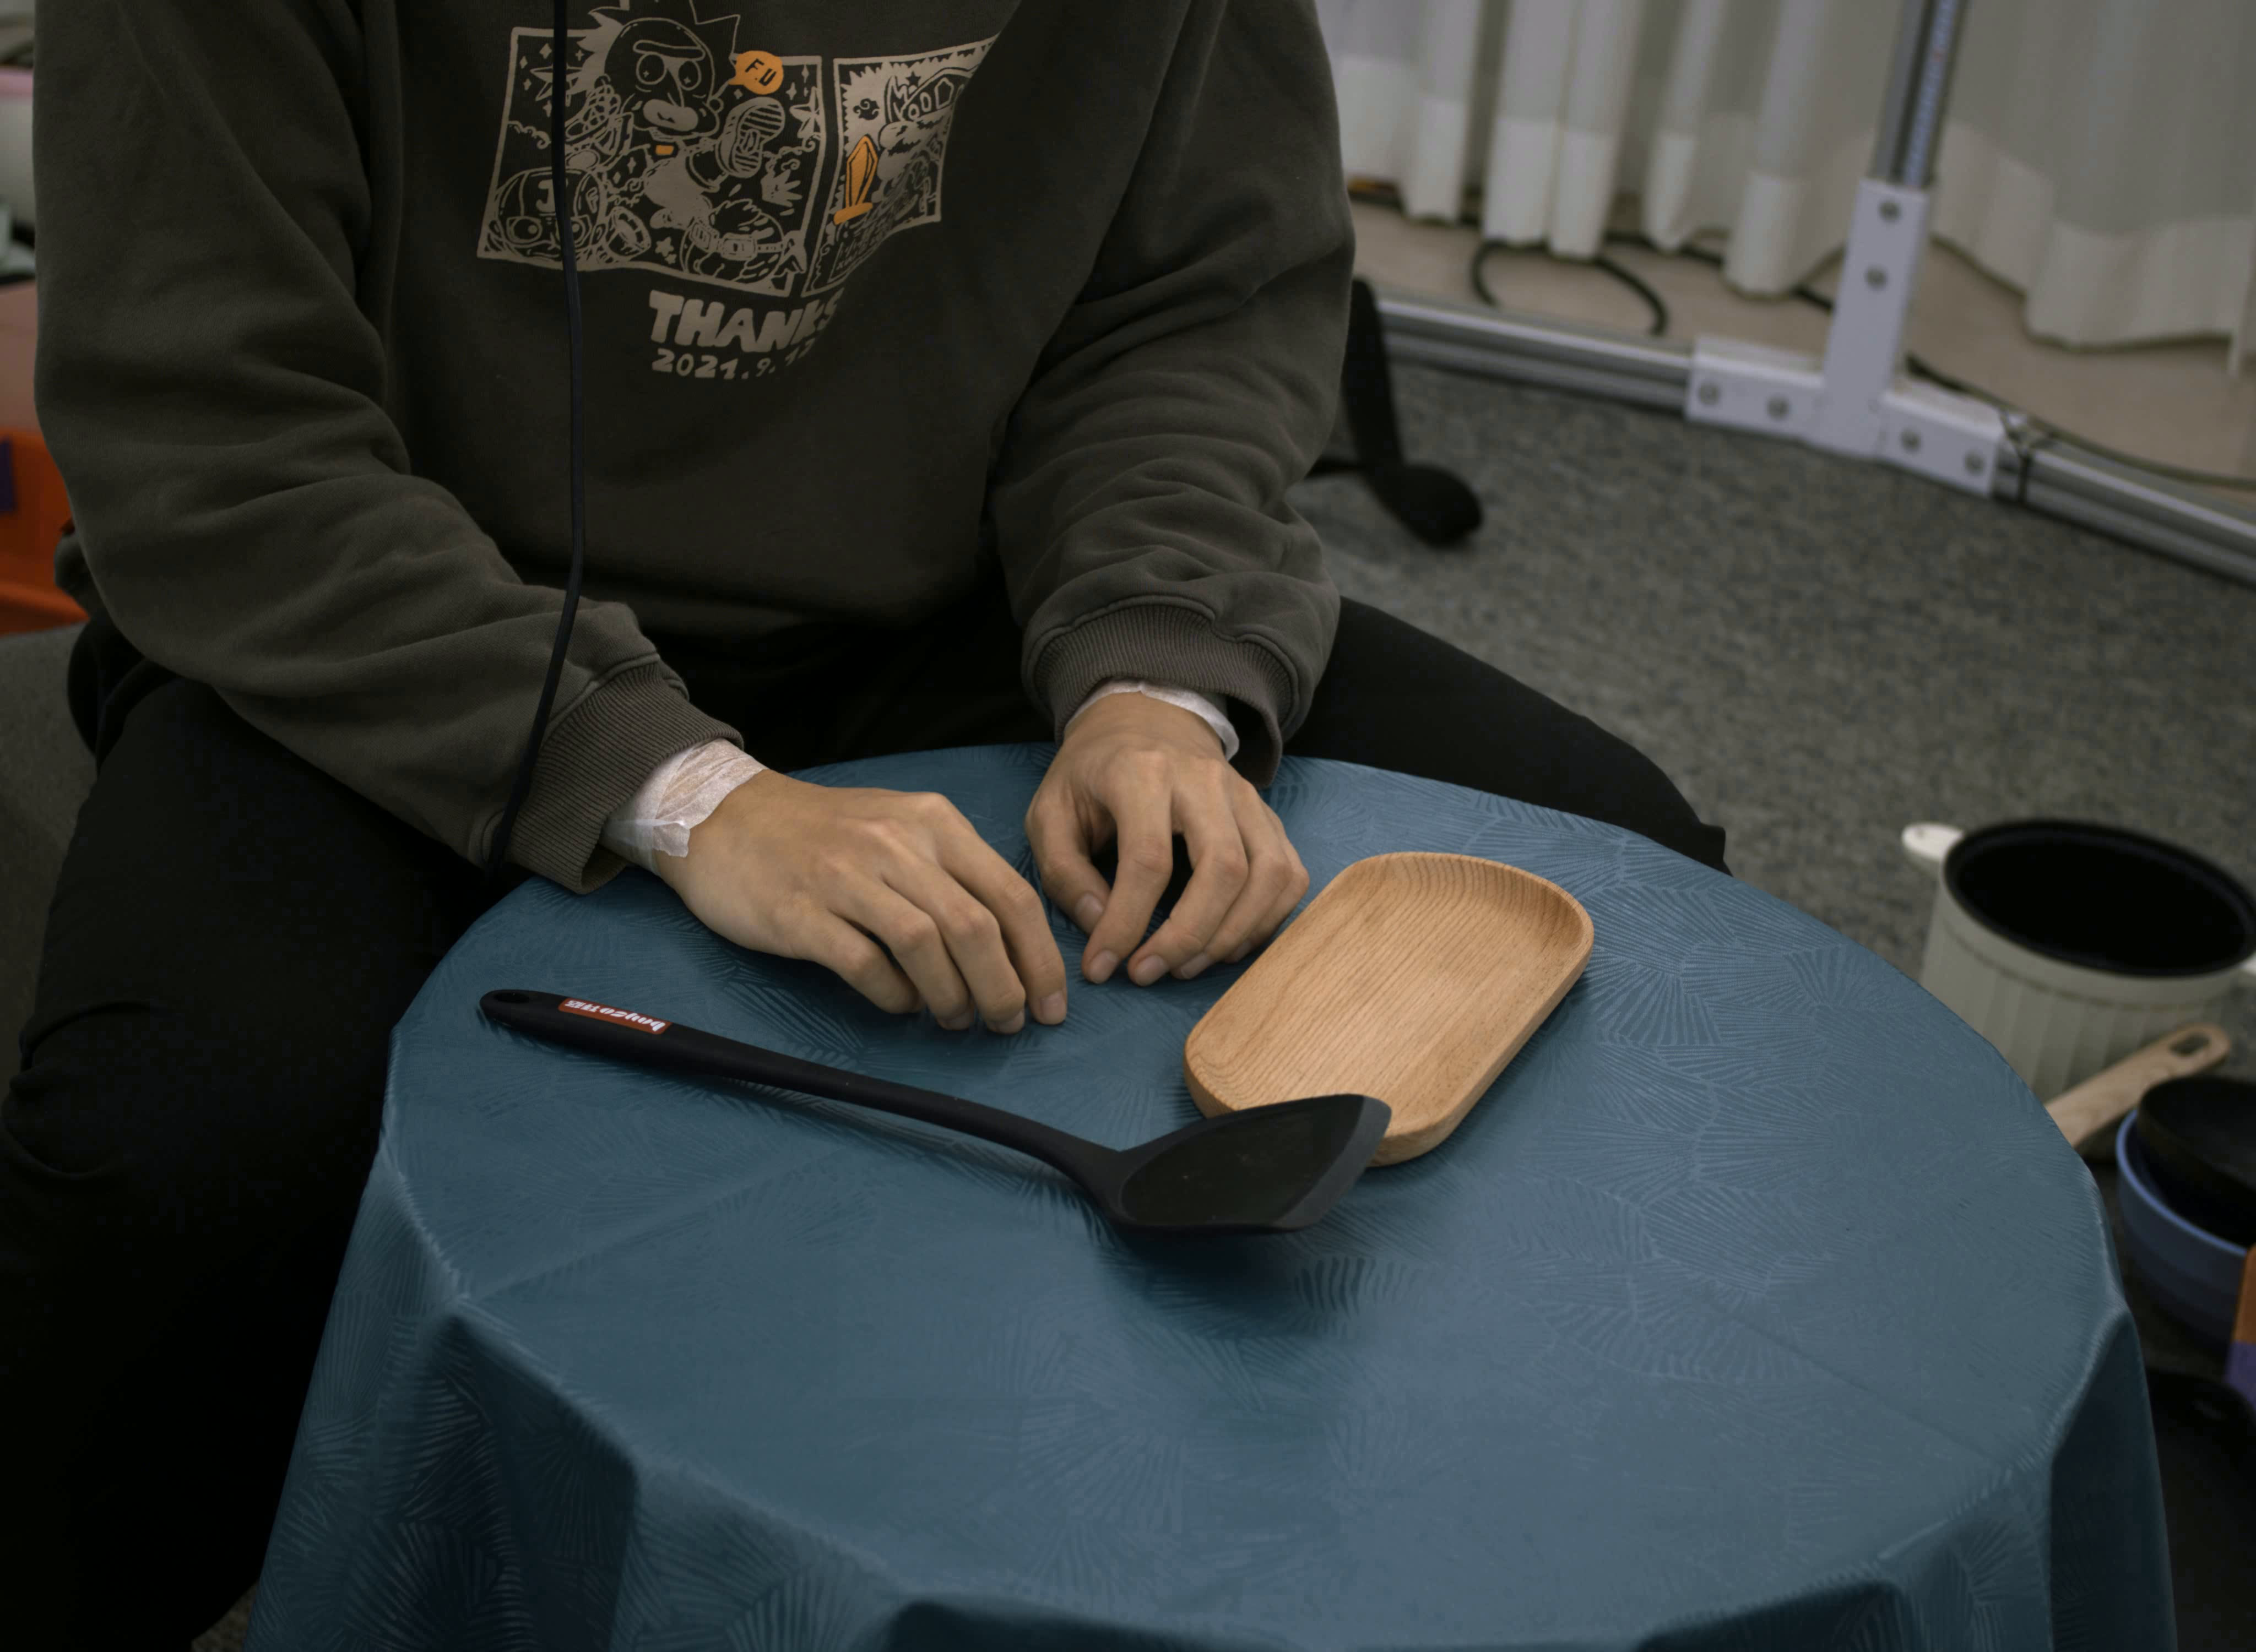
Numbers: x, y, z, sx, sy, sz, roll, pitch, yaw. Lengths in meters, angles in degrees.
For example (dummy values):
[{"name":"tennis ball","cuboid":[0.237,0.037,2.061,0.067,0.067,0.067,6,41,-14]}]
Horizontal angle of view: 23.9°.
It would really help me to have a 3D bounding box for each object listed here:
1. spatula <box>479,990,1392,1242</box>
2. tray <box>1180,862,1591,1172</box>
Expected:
[{"name":"spatula","cuboid":[-0.074,0.089,1.815,0.327,0.040,0.100,15,26,16]},{"name":"tray","cuboid":[0.095,0.067,1.920,0.102,0.020,0.231,16,29,19]}]
